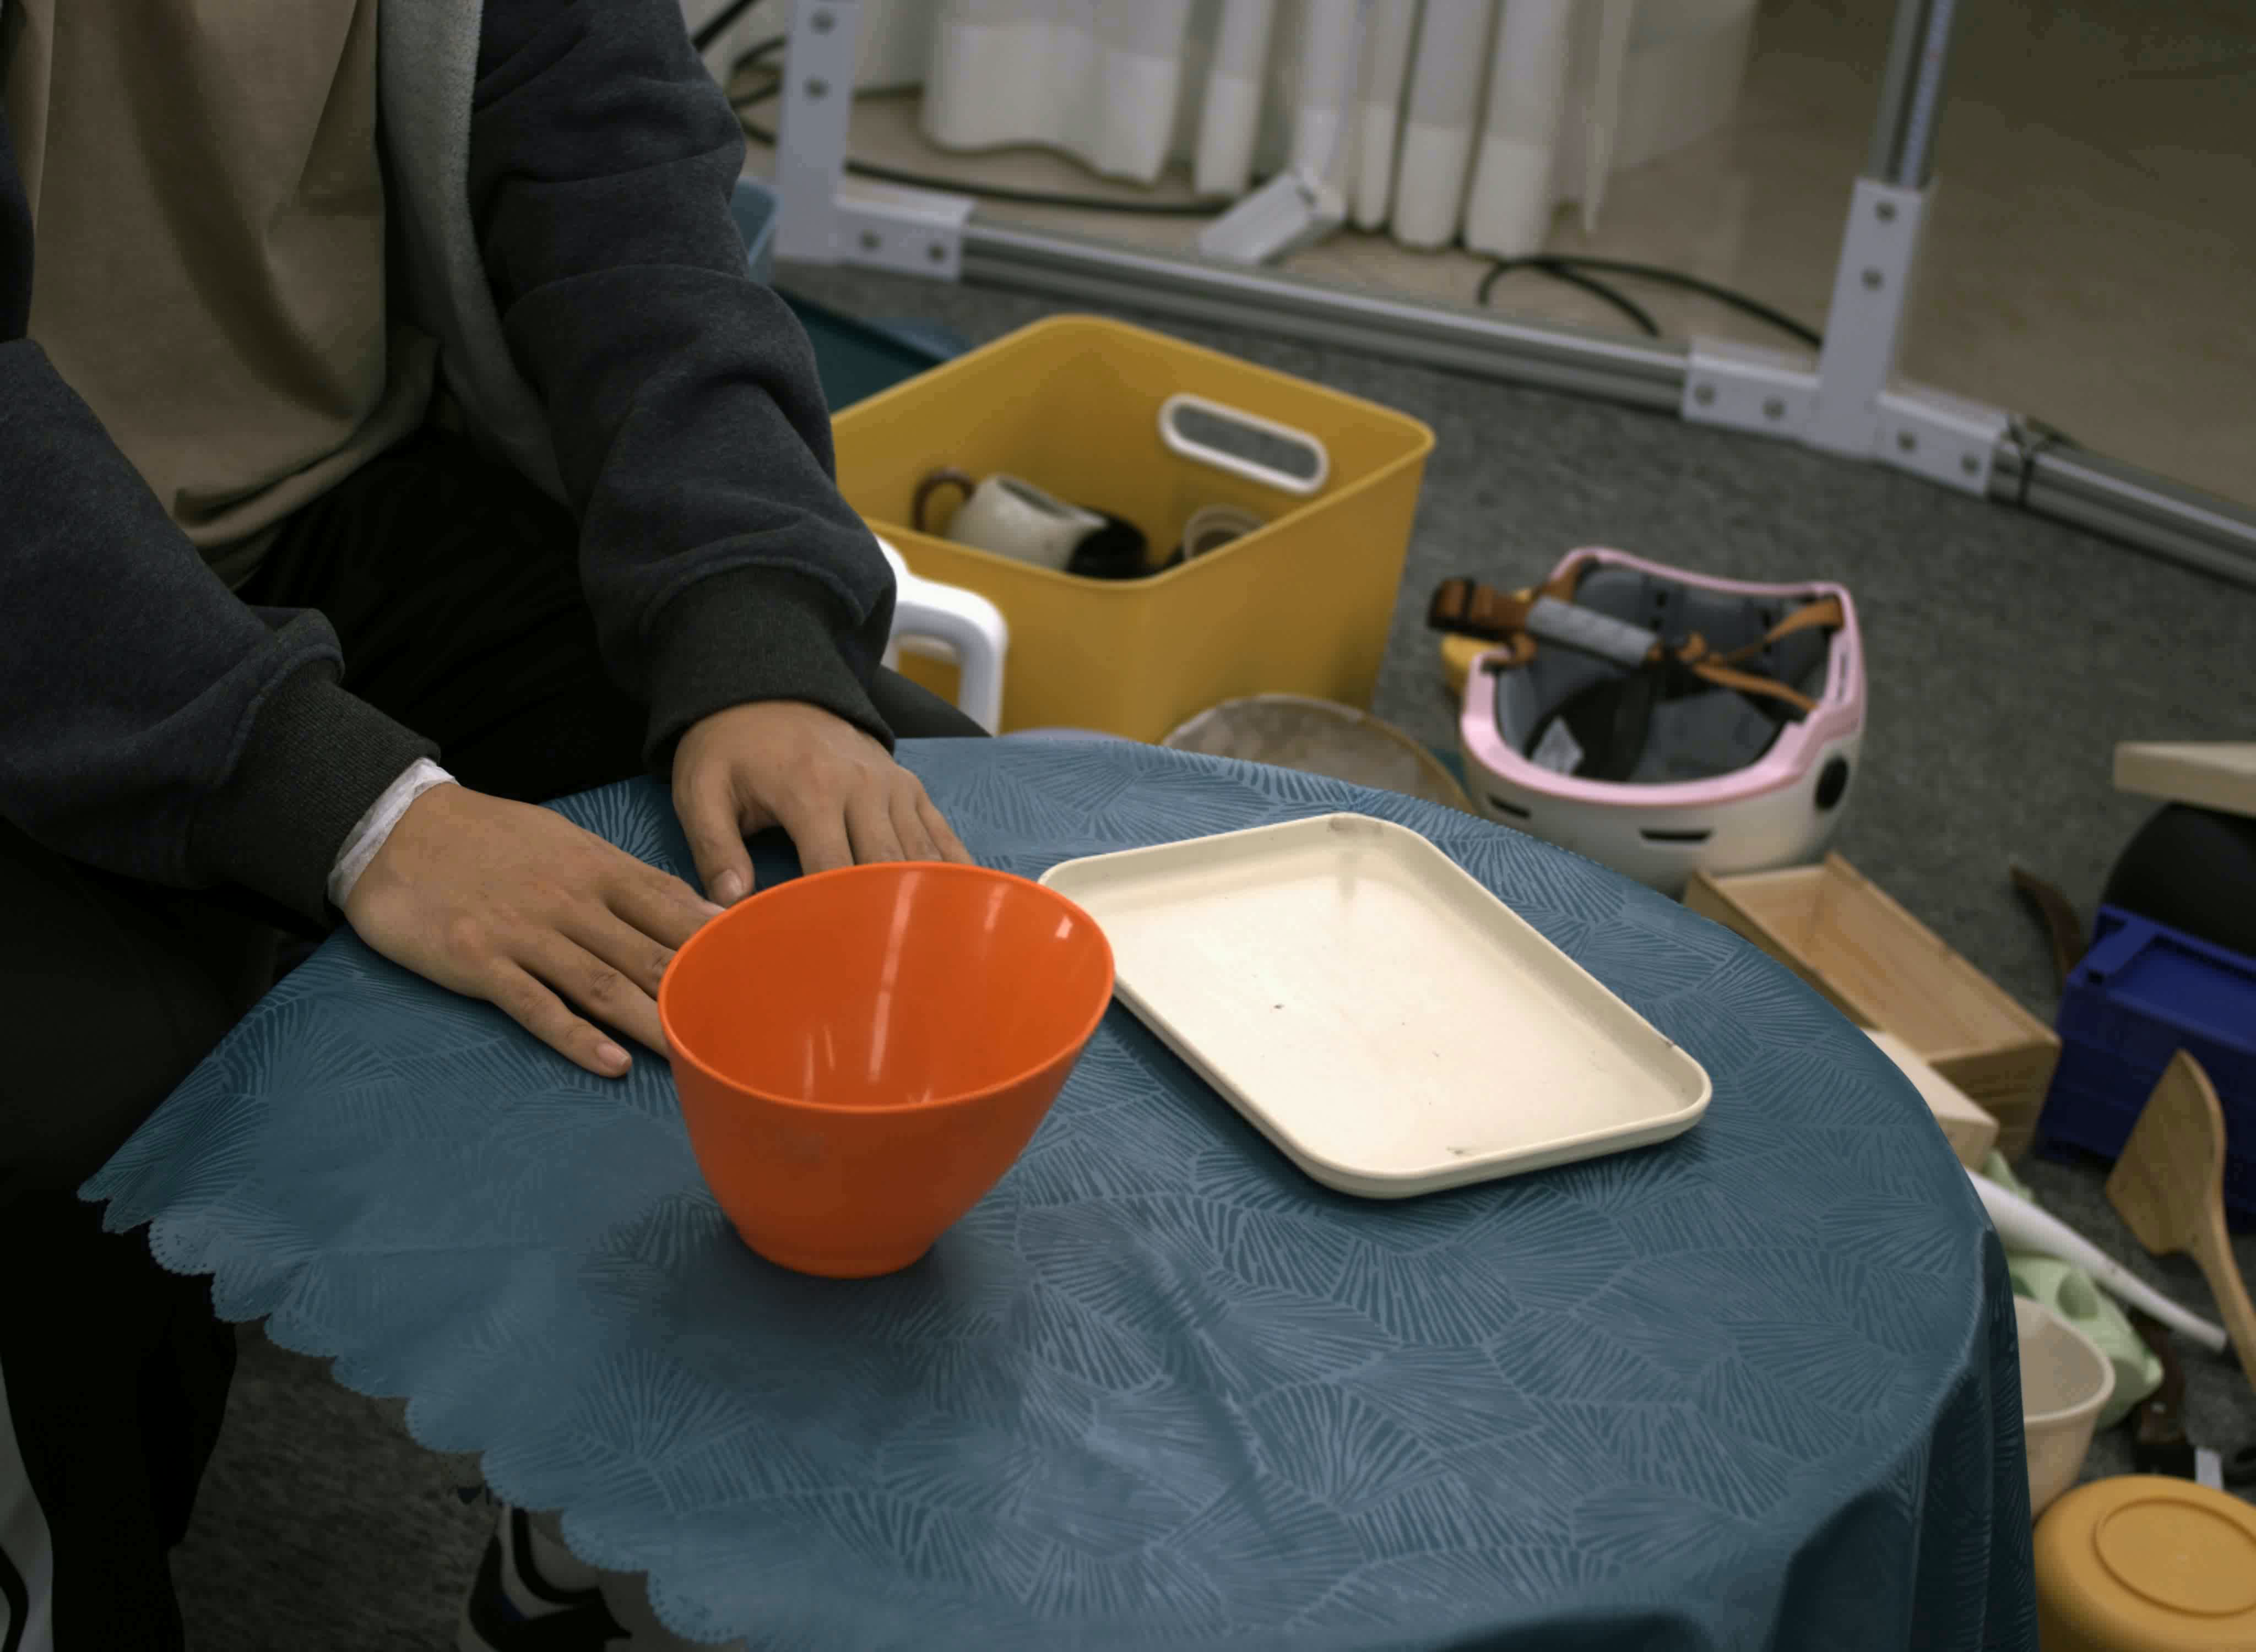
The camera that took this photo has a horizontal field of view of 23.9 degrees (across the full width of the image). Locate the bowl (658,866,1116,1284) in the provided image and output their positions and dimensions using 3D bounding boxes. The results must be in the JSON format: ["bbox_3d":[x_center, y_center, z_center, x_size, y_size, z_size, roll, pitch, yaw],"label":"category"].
[{"bbox_3d":[-0.082,0.088,1.742,0.147,0.104,0.149,6,27,-3],"label":"bowl"}]

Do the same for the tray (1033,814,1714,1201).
[{"bbox_3d":[0.085,0.064,1.919,0.170,0.017,0.242,-10,31,-29],"label":"tray"}]
